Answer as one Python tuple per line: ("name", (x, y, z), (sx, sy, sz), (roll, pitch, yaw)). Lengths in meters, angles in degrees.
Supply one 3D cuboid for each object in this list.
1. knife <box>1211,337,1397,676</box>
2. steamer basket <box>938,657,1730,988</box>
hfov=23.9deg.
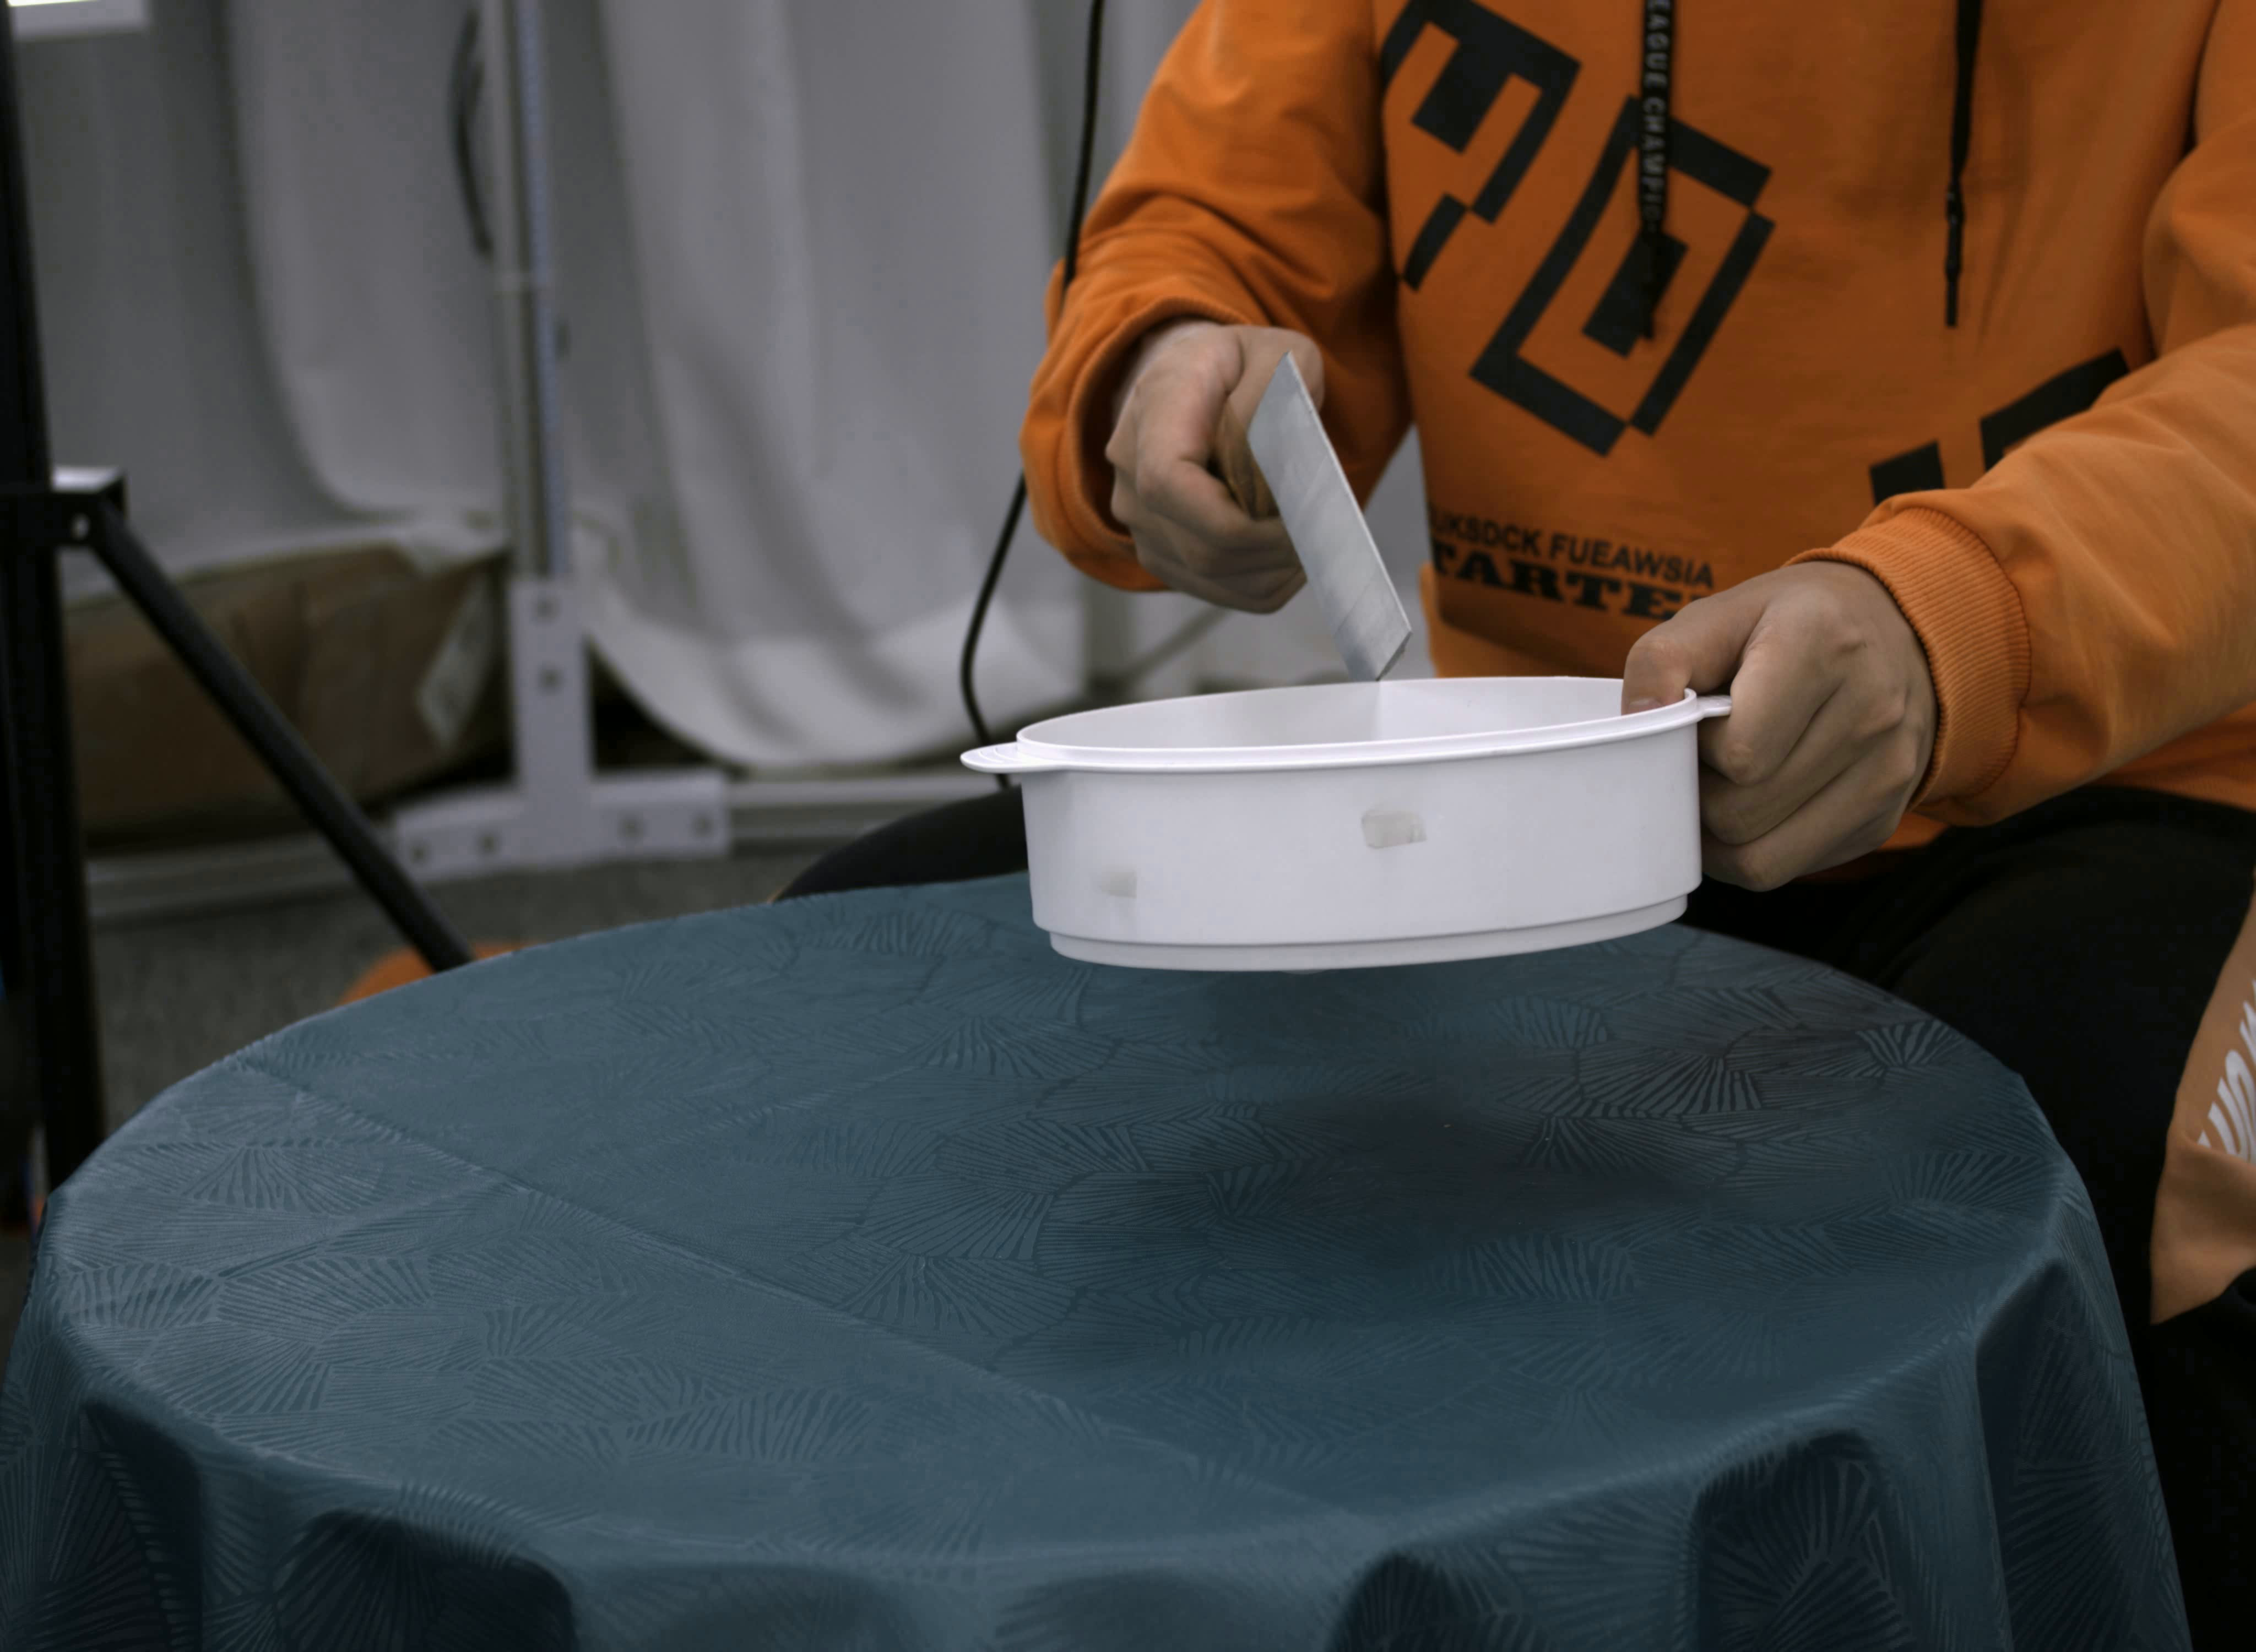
("knife", (0.056, -0.088, 1.653), (0.021, 0.093, 0.305), (-23, -2, -4))
("steamer basket", (0.062, 0.000, 1.528), (0.228, 0.069, 0.204), (-8, 8, -10))
